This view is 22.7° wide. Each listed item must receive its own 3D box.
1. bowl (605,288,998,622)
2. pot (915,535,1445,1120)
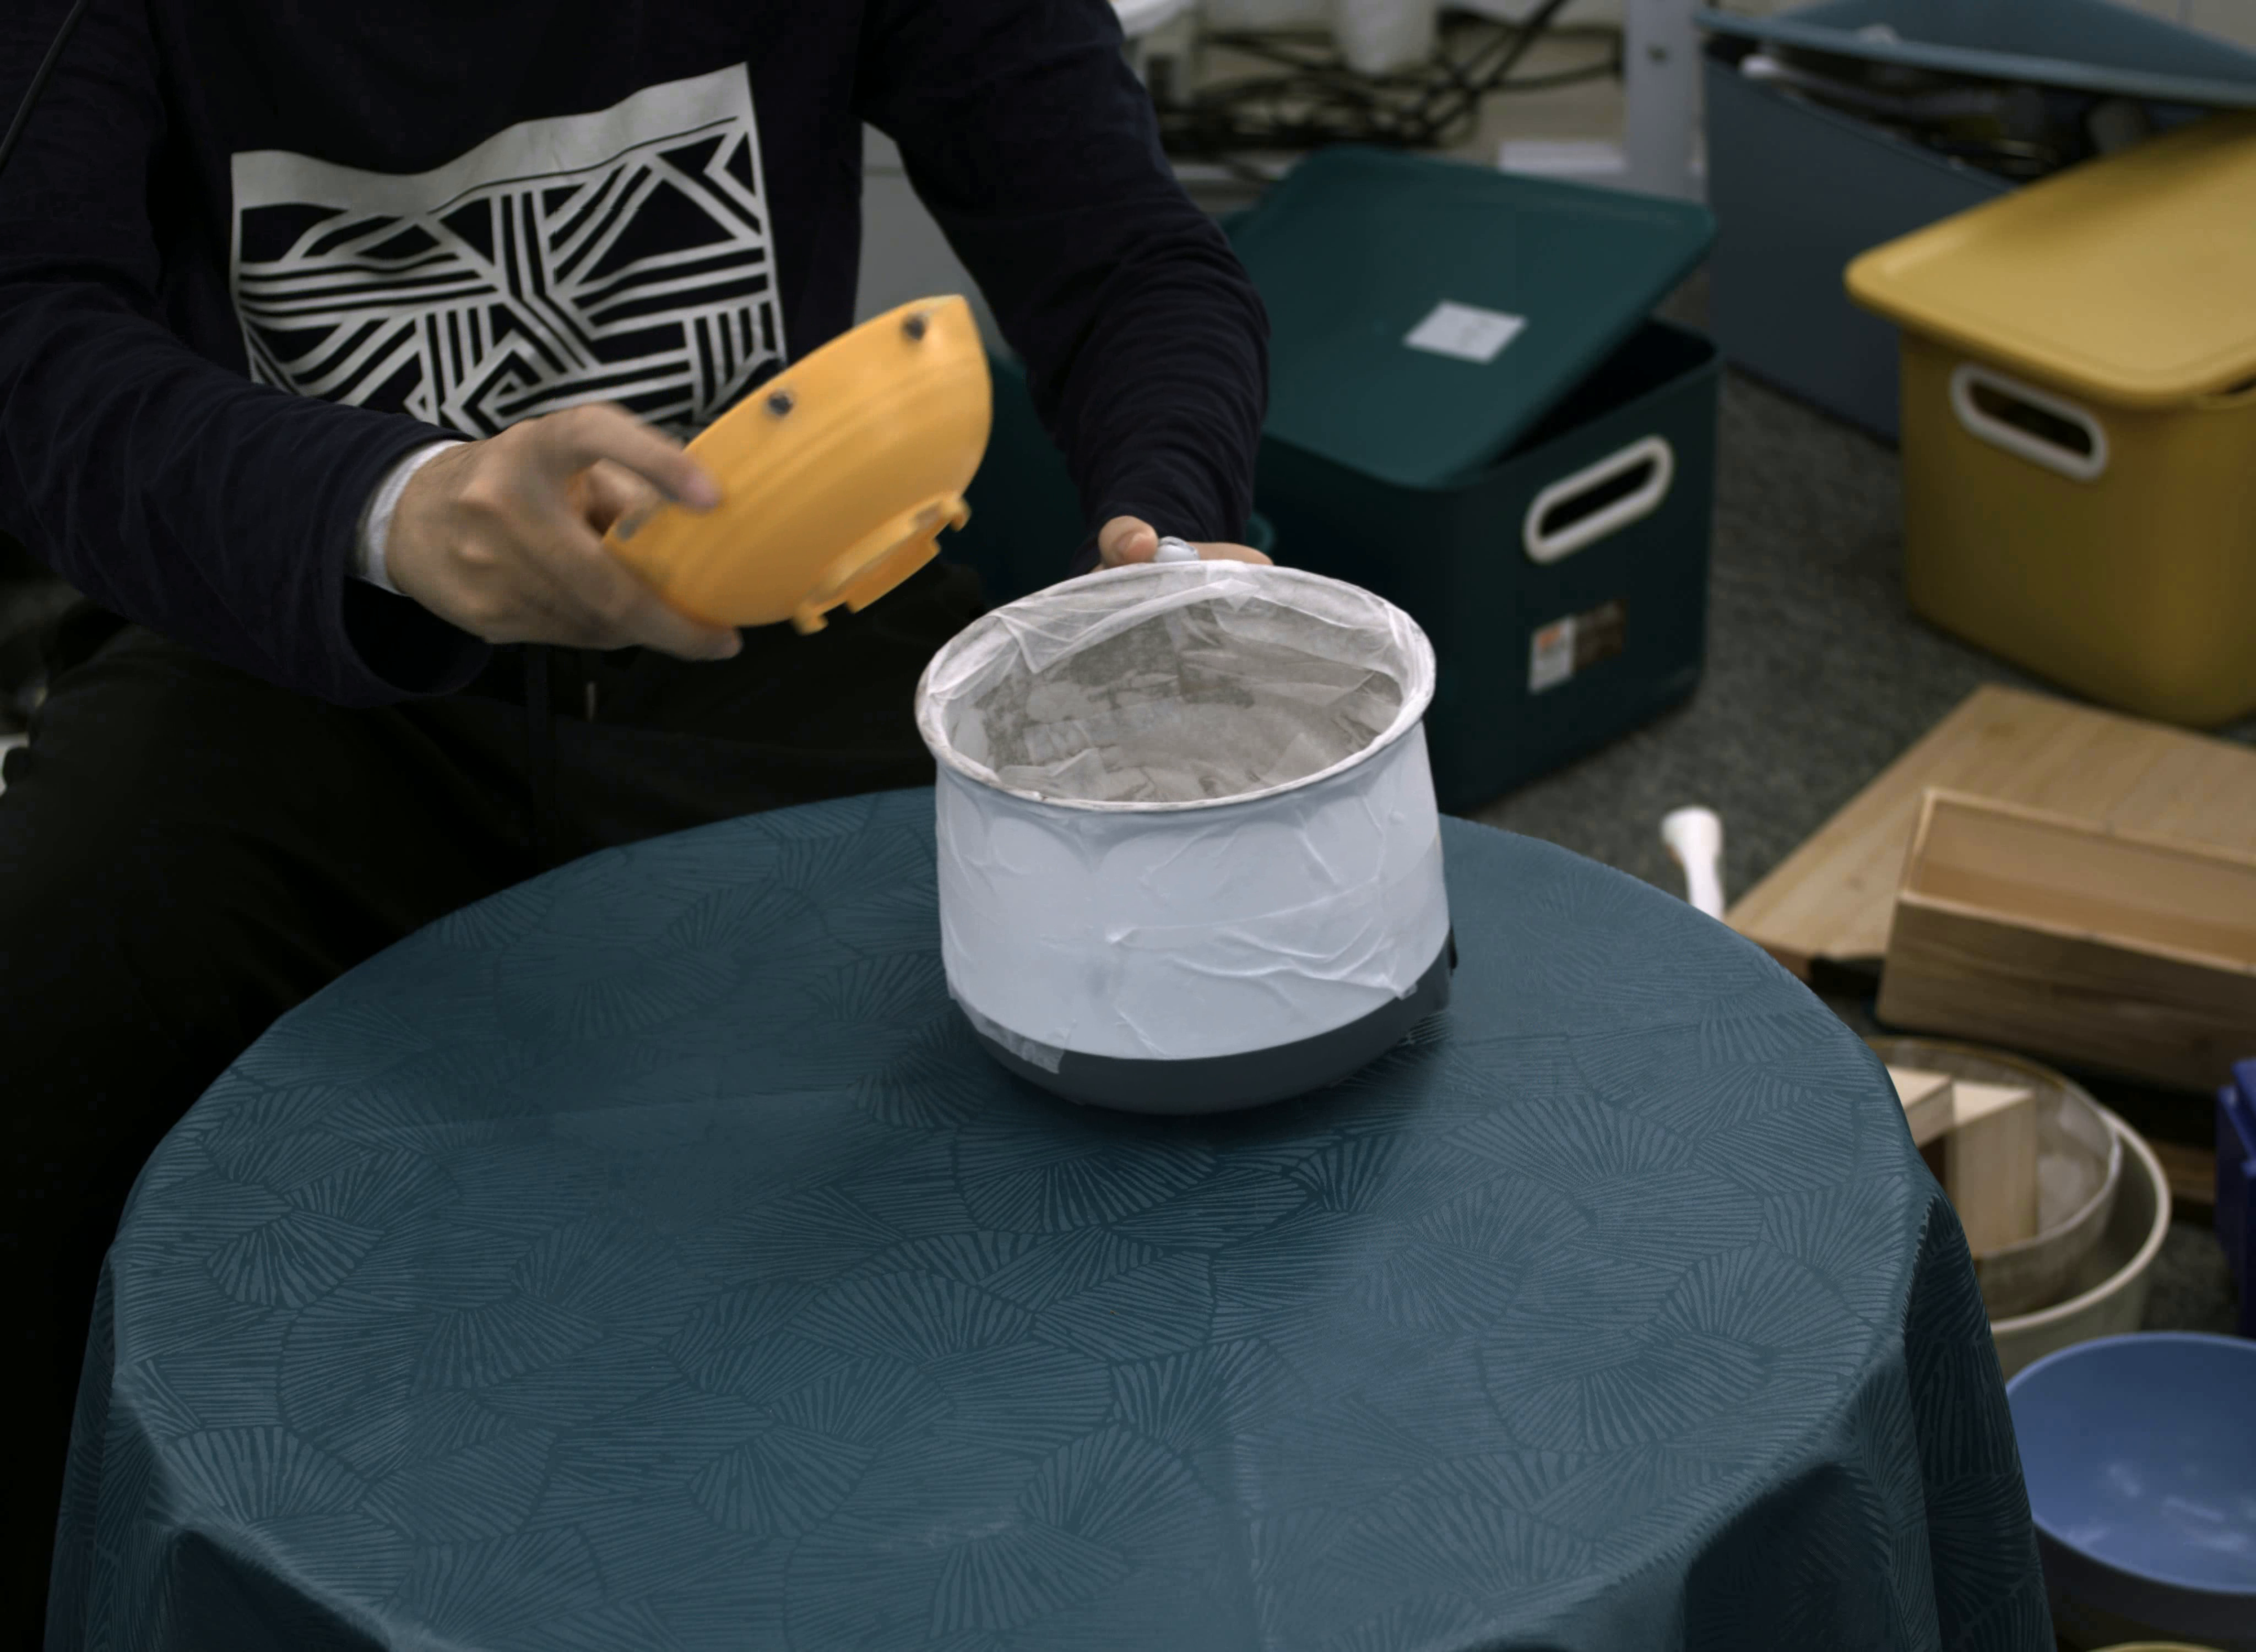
[{"bbox_3d":[-0.094,-0.109,1.826,0.147,0.143,0.060,-28,79,-39],"label":"bowl"},{"bbox_3d":[0.018,-0.007,1.947,0.178,0.135,0.237,-3,29,-1],"label":"pot"}]
